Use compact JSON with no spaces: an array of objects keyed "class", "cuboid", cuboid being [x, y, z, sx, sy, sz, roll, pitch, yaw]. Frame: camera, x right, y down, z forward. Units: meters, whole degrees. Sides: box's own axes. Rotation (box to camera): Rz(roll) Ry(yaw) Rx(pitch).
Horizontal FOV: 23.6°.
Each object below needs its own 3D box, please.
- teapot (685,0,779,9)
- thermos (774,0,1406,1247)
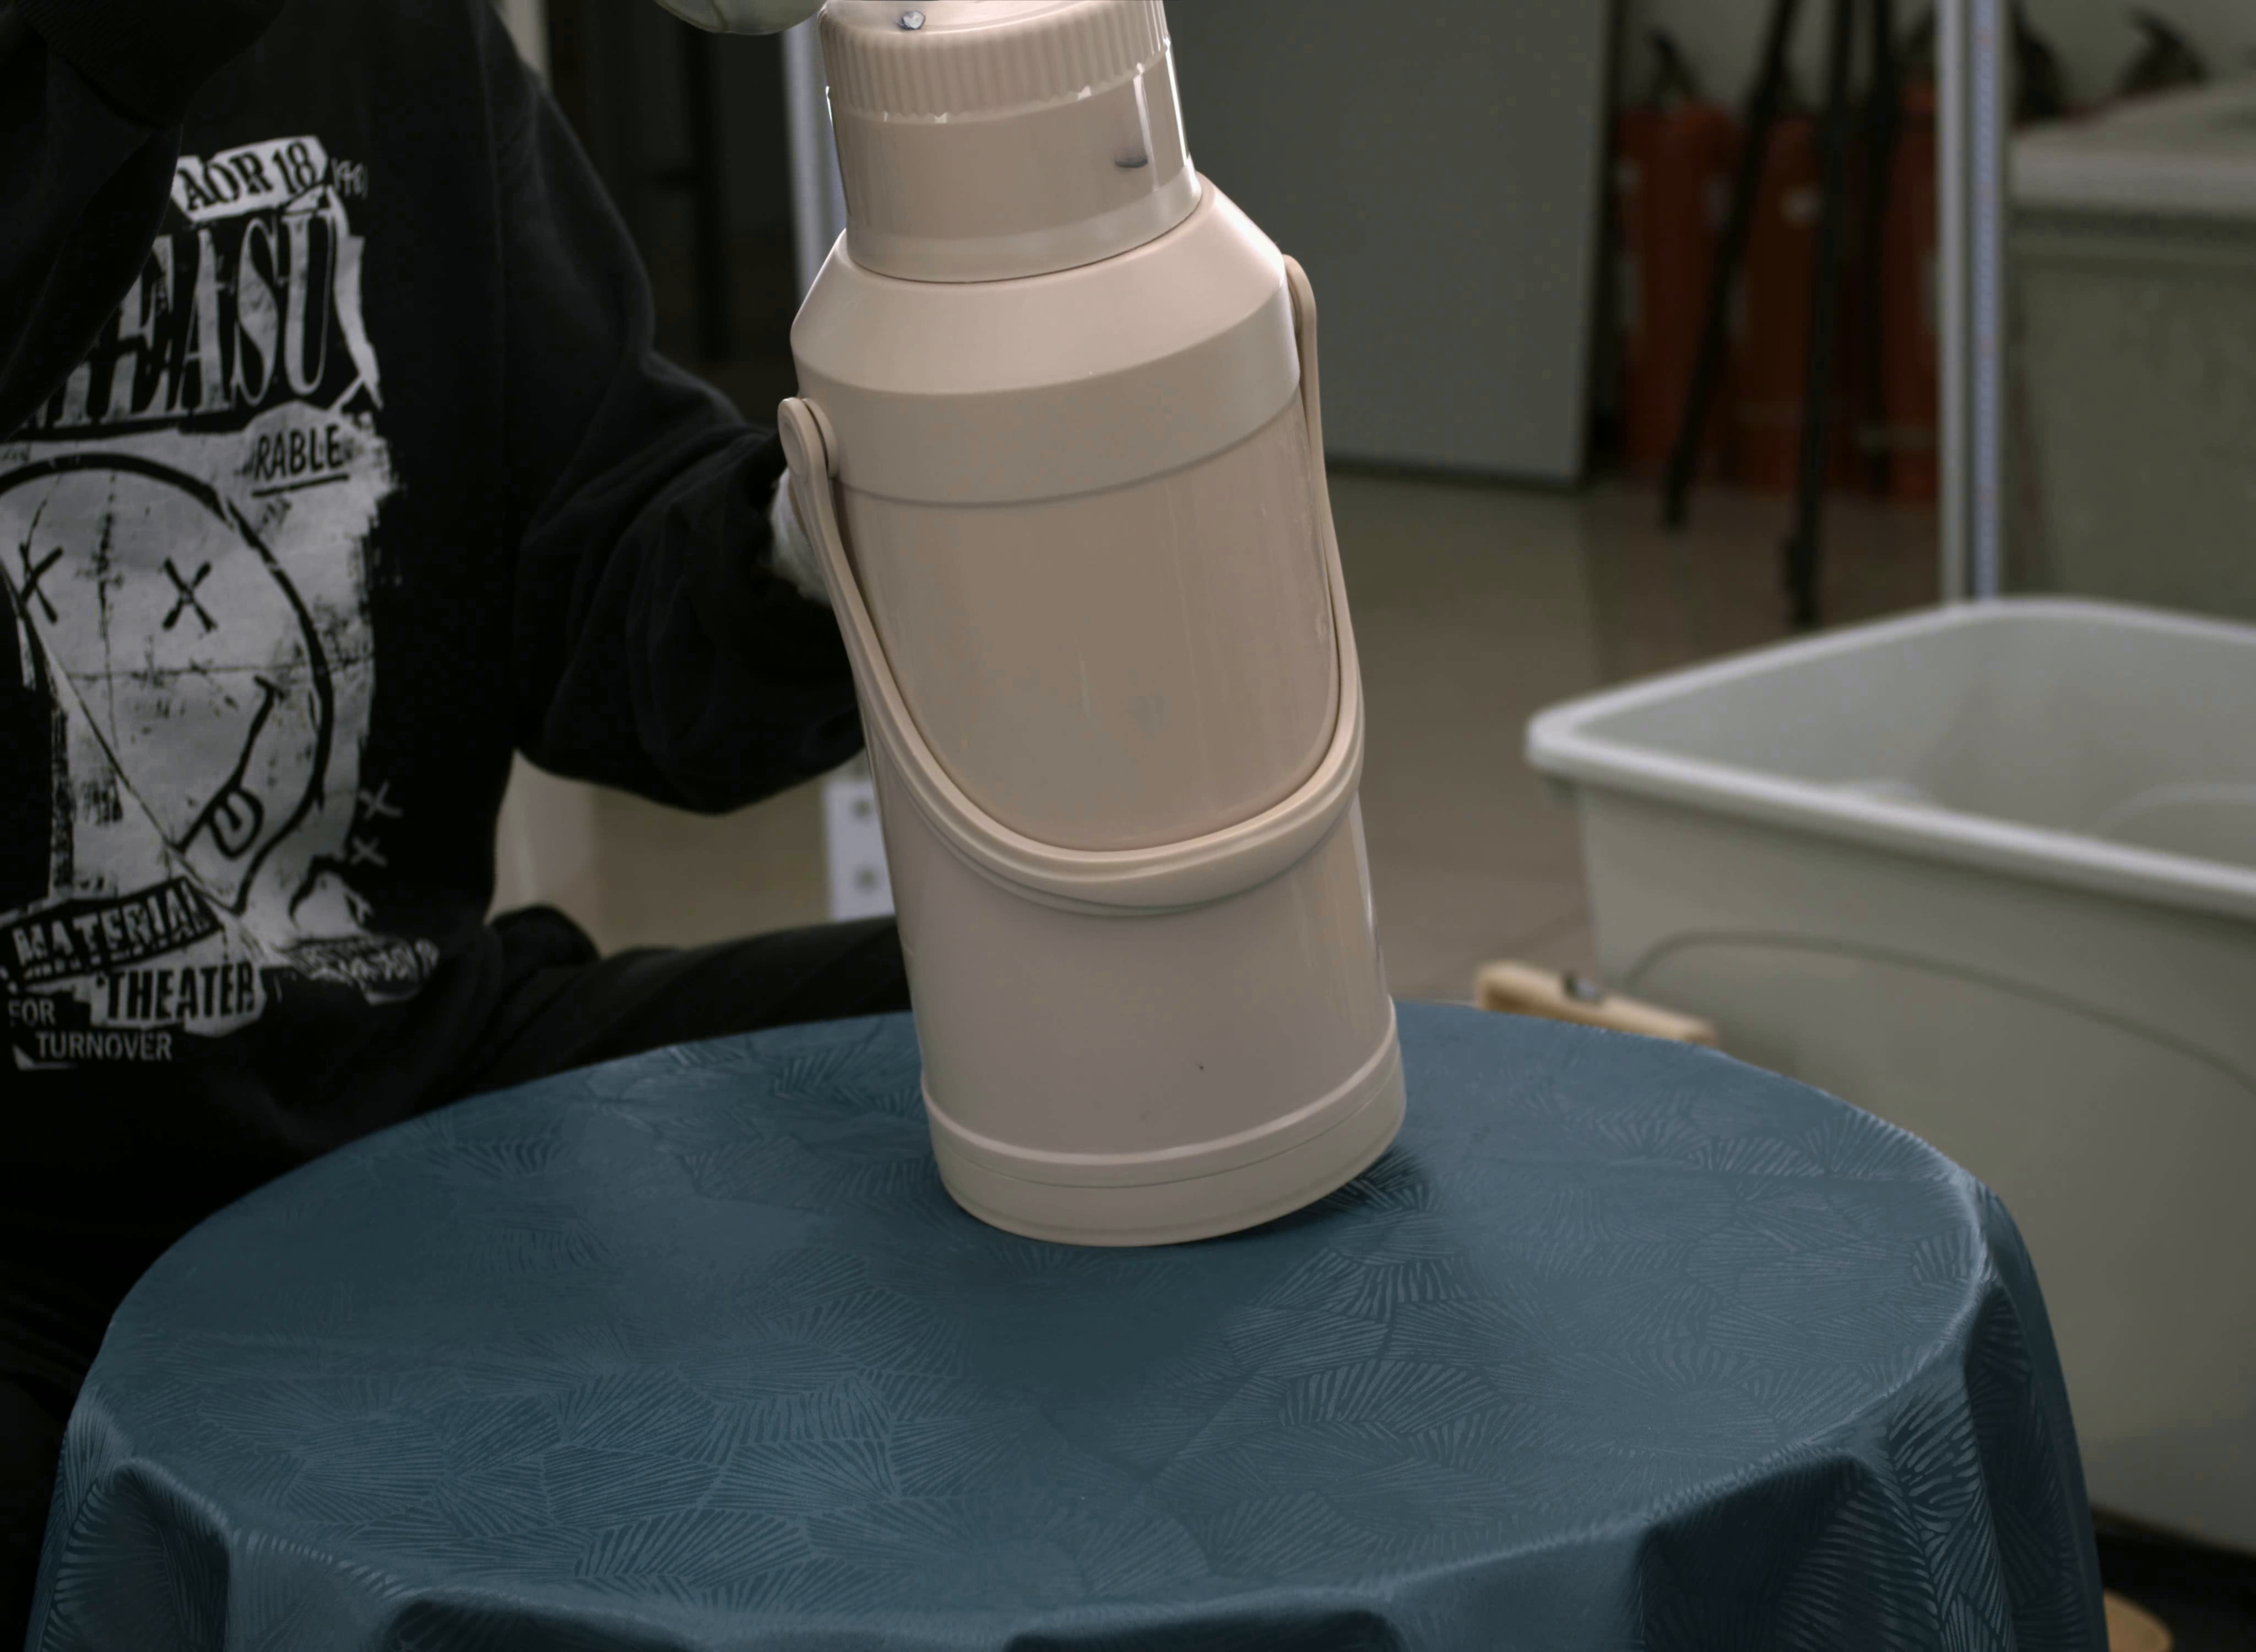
[{"class":"teapot","cuboid":[-0.133,-0.288,1.597,0.059,0.127,0.093,-49,27,-6]},{"class":"thermos","cuboid":[-0.020,-0.084,1.721,0.172,0.409,0.209,-19,26,-18]}]
